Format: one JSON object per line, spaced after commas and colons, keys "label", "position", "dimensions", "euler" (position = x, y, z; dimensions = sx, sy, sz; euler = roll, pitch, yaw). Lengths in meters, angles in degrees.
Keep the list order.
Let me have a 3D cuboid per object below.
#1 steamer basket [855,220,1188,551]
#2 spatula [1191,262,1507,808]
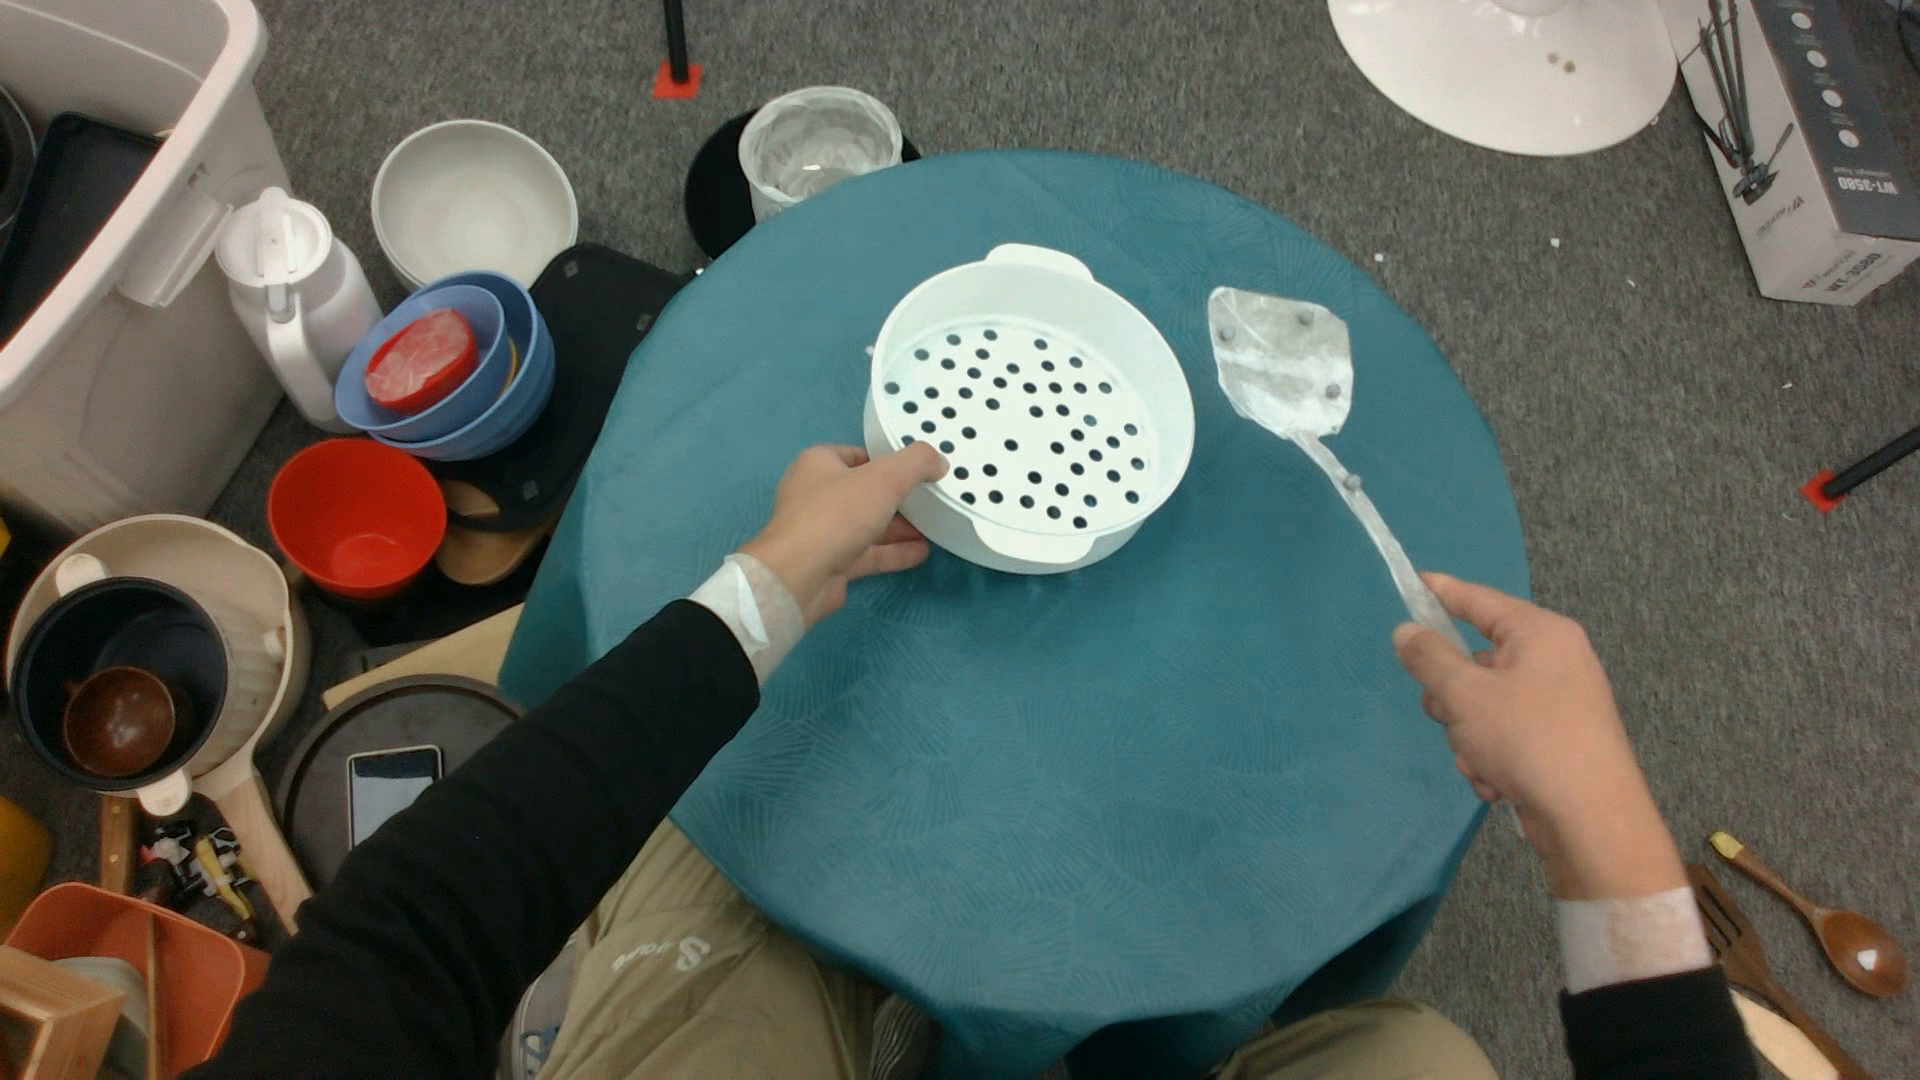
{"label": "steamer basket", "position": [0.035, -0.089, 0.845], "dimensions": [0.202, 0.069, 0.231], "euler": [9, 60, -10]}
{"label": "spatula", "position": [0.203, -0.024, 0.703], "dimensions": [0.099, 0.044, 0.366], "euler": [8, 40, -22]}
